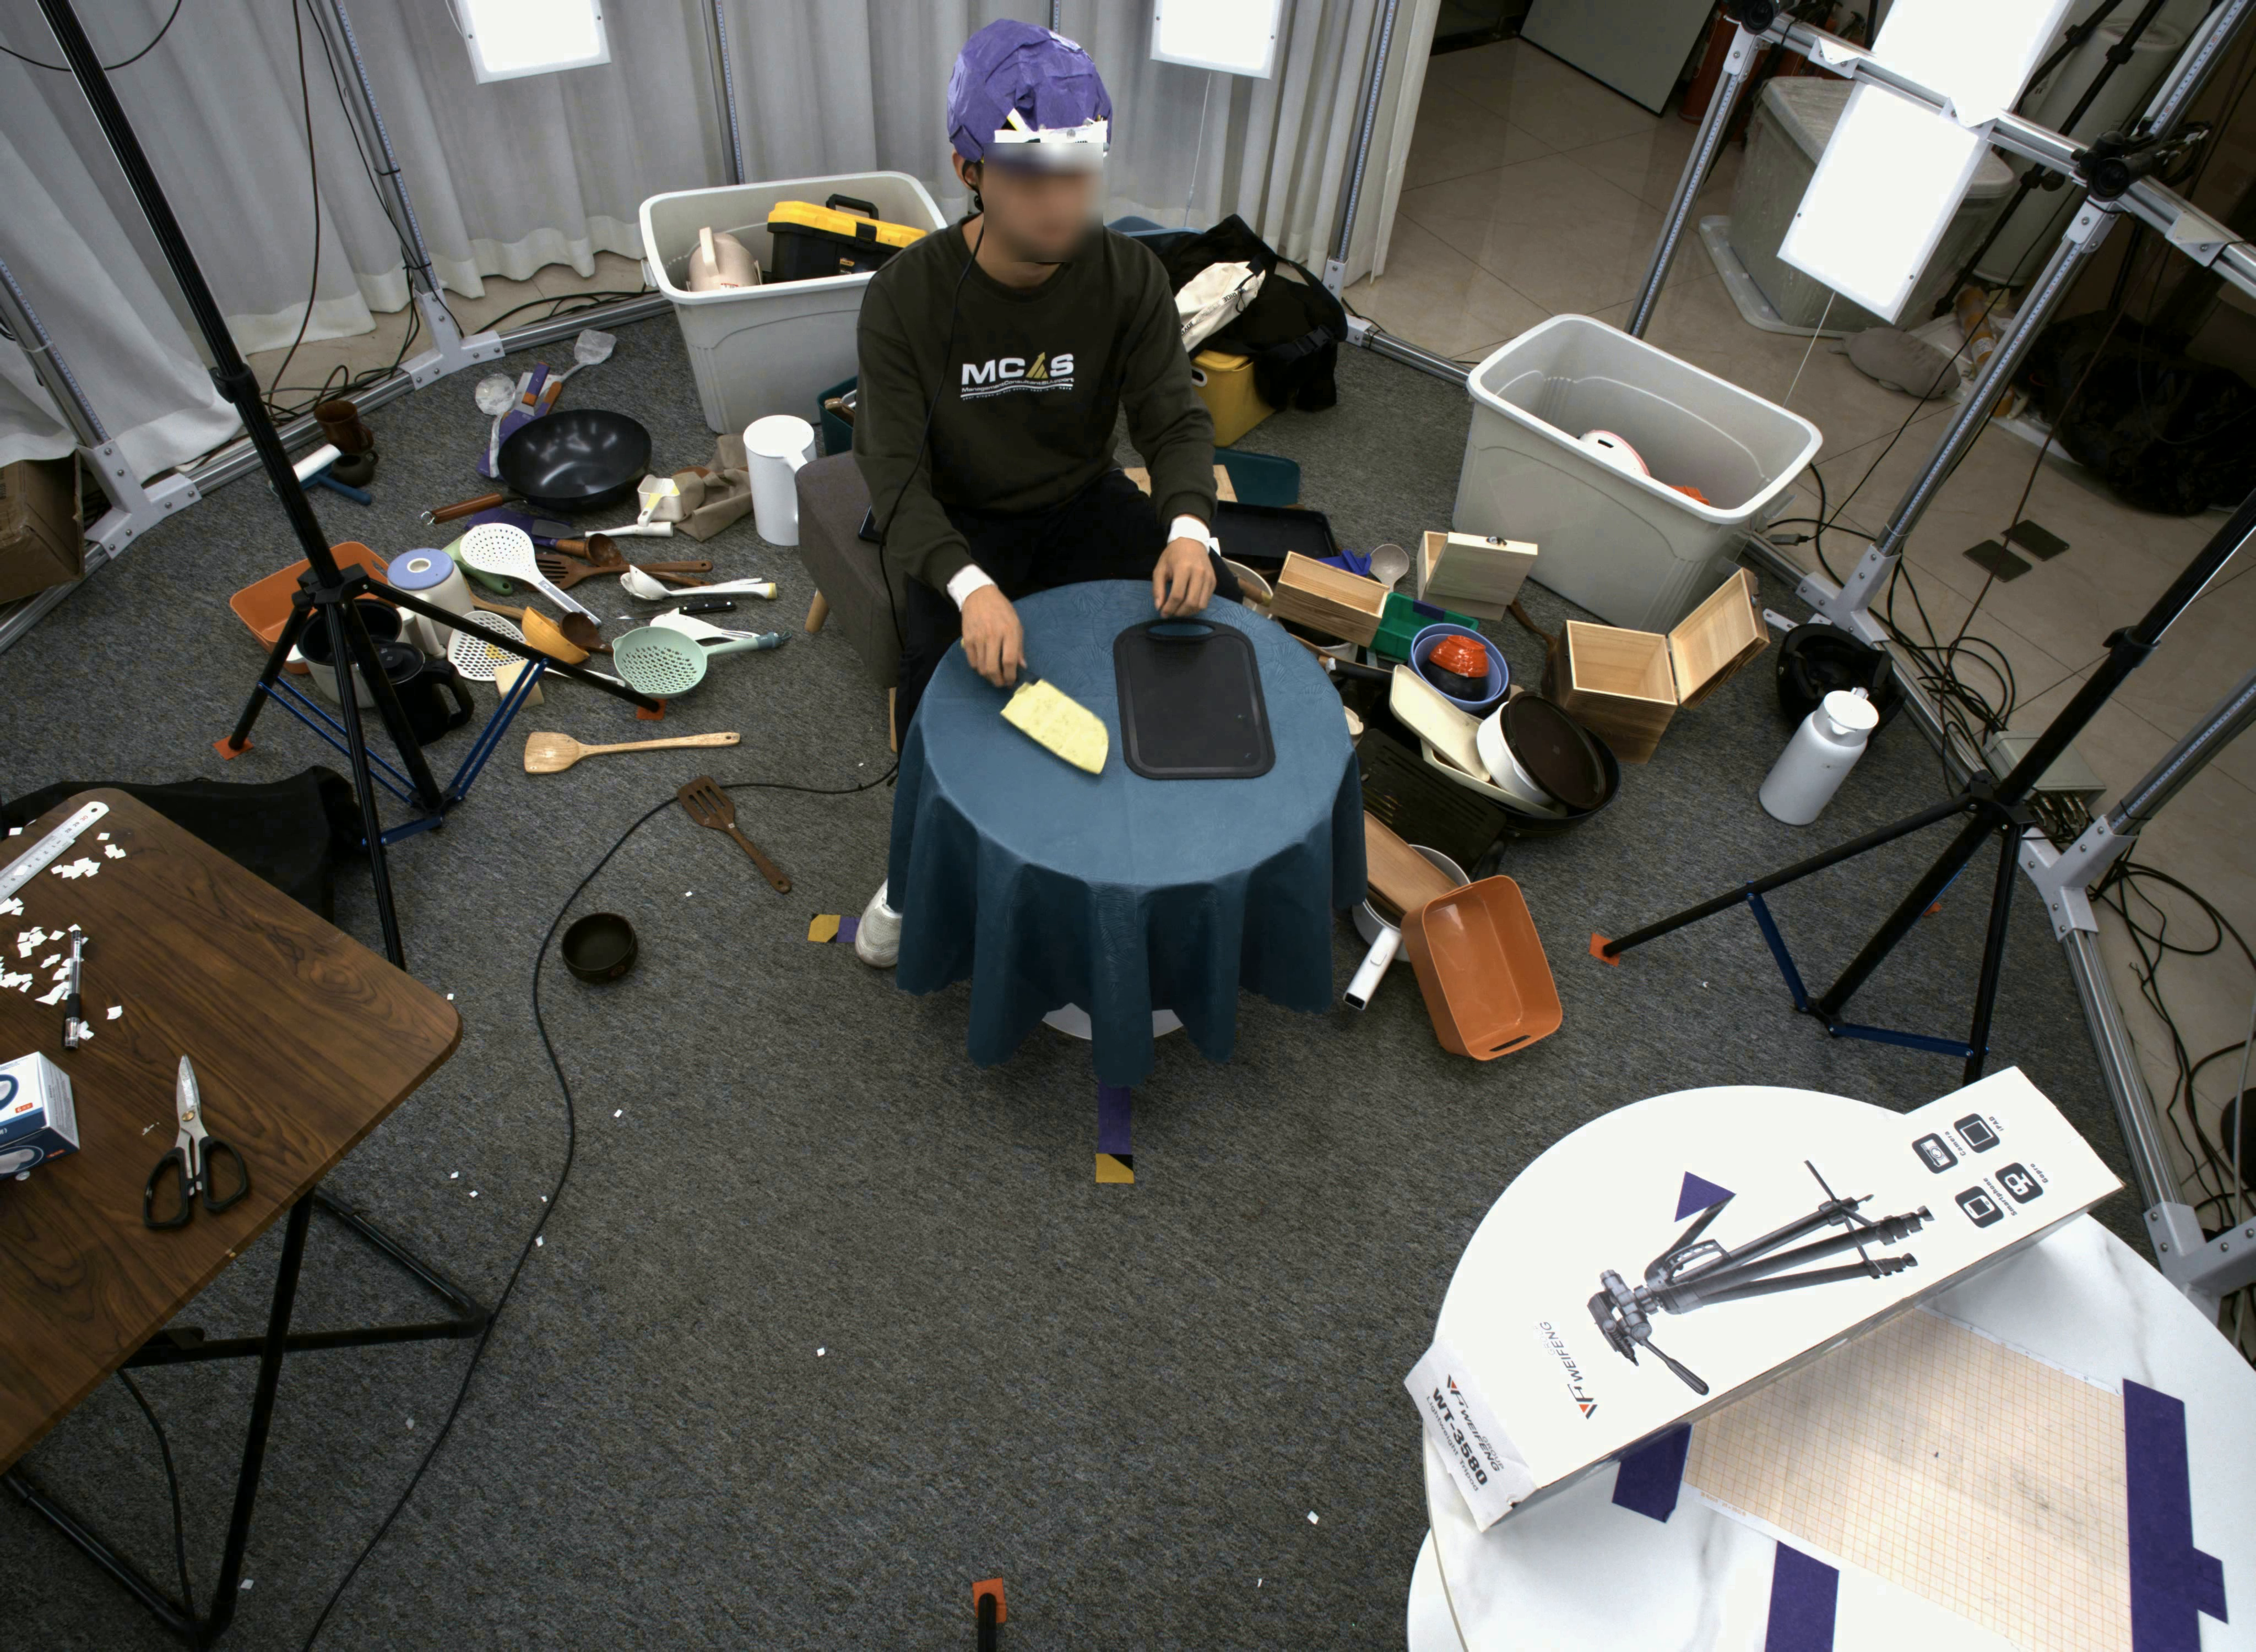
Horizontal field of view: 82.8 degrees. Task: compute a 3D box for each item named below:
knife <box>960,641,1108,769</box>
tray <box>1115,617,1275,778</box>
[{"bbox_3d":[-0.137,-0.168,1.771,0.293,0.026,0.081,39,77,24],"label":"knife"},{"bbox_3d":[0.090,-0.192,1.834,0.211,0.009,0.333,-1,49,-5],"label":"tray"}]
